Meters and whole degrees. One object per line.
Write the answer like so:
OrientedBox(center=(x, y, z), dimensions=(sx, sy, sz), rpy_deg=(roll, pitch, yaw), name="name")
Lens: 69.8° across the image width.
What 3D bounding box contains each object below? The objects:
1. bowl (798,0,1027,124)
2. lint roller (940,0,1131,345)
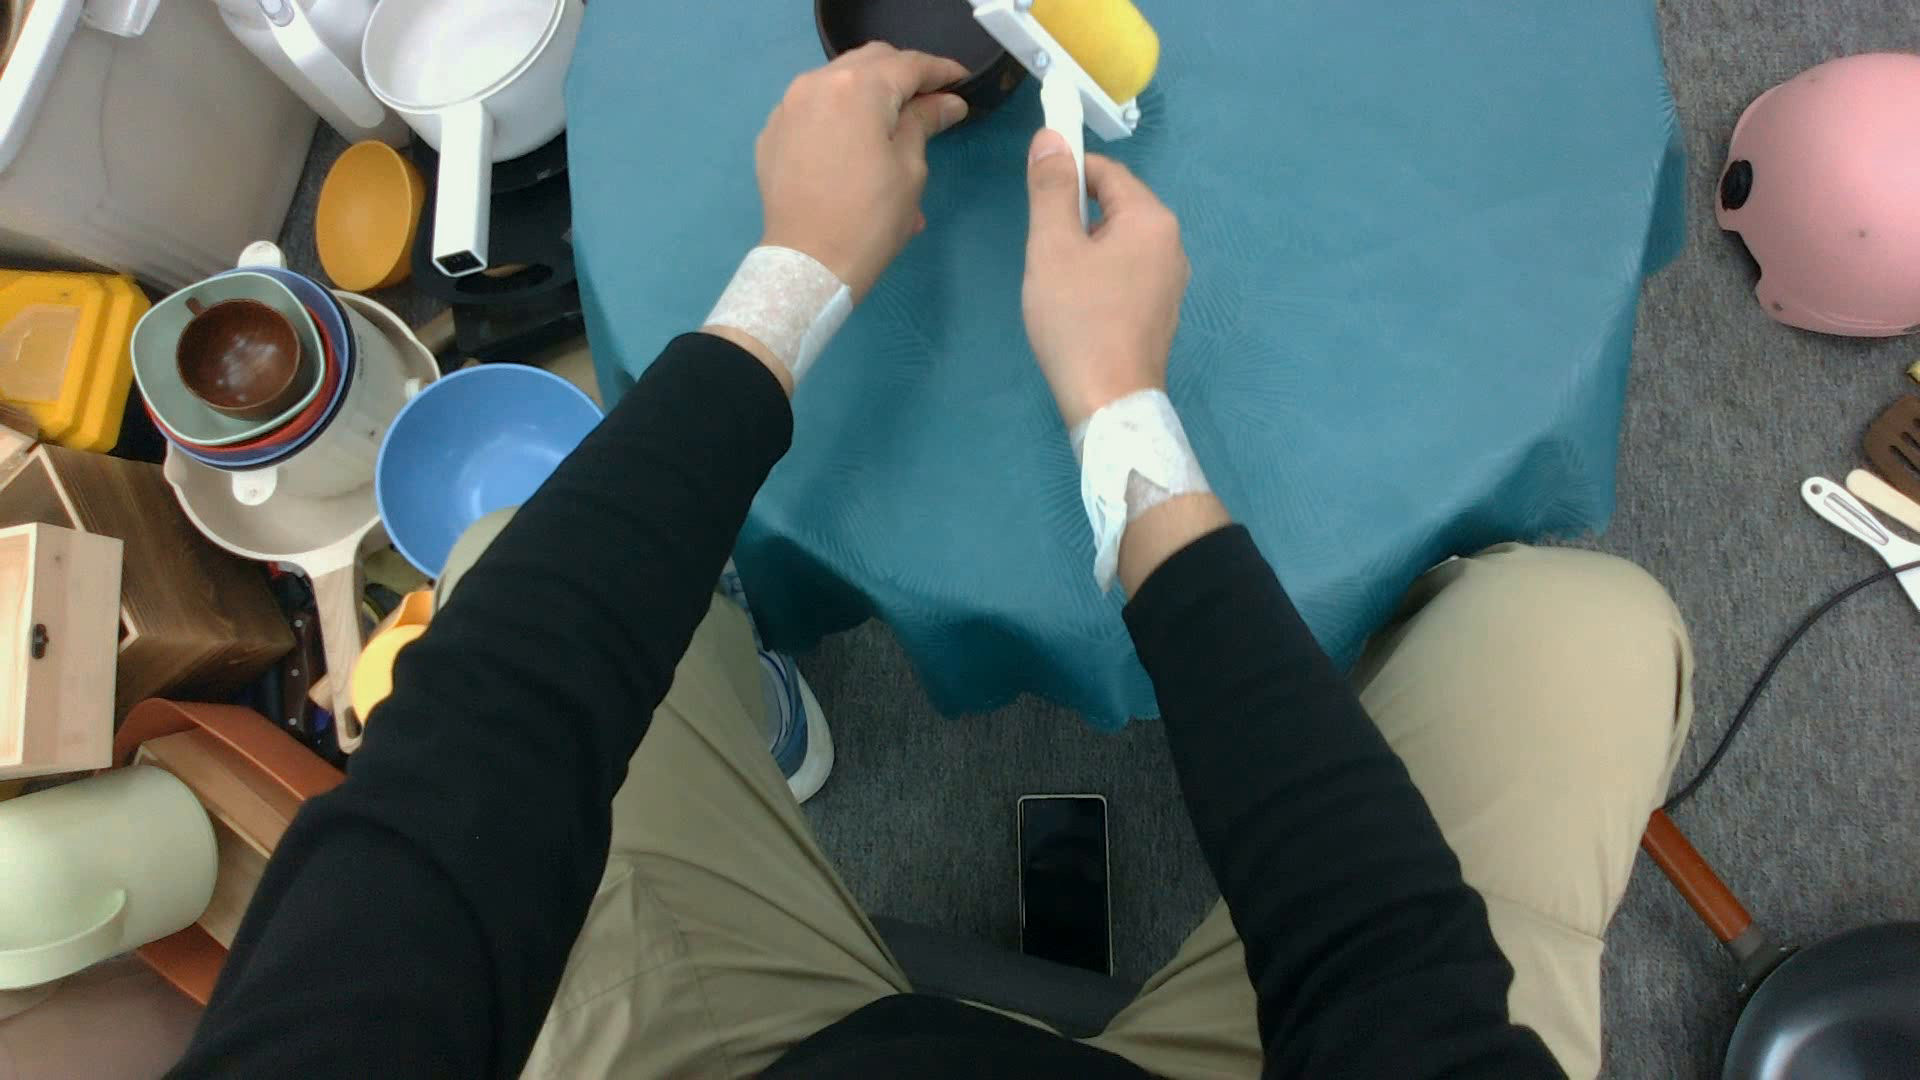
OrientedBox(center=(-0.021, -0.275, 0.731), dimensions=(0.118, 0.070, 0.118), rpy_deg=(-2, 77, 9), name="bowl")
OrientedBox(center=(0.050, -0.189, 0.650), dimensions=(0.051, 0.174, 0.192), rpy_deg=(-22, 77, 25), name="lint roller")
